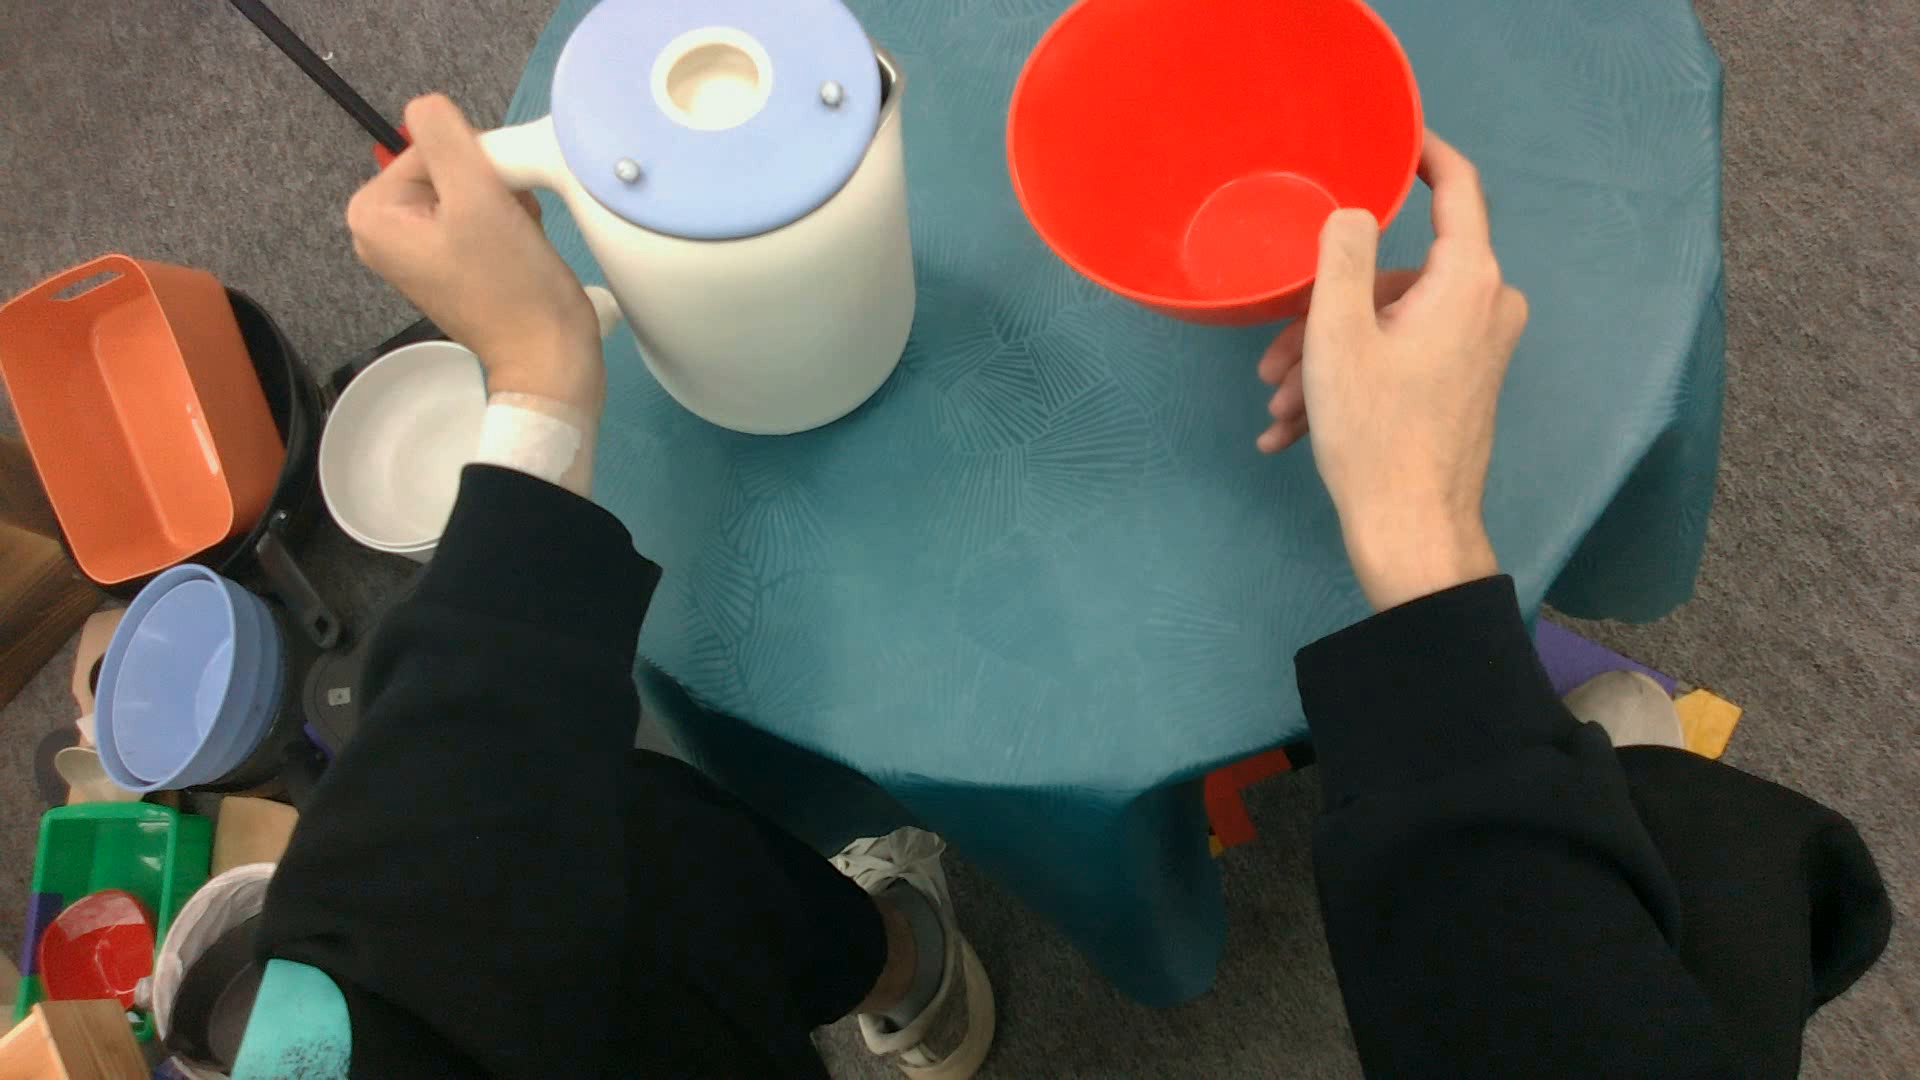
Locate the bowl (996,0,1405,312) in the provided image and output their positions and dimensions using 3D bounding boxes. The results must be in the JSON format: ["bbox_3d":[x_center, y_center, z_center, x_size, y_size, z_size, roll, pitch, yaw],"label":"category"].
[{"bbox_3d":[0.100,-0.147,0.546,0.148,0.104,0.148,-6,70,17],"label":"bowl"}]

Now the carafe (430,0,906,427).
[{"bbox_3d":[-0.115,-0.134,0.572,0.191,0.182,0.132,-10,70,-2],"label":"carafe"}]
